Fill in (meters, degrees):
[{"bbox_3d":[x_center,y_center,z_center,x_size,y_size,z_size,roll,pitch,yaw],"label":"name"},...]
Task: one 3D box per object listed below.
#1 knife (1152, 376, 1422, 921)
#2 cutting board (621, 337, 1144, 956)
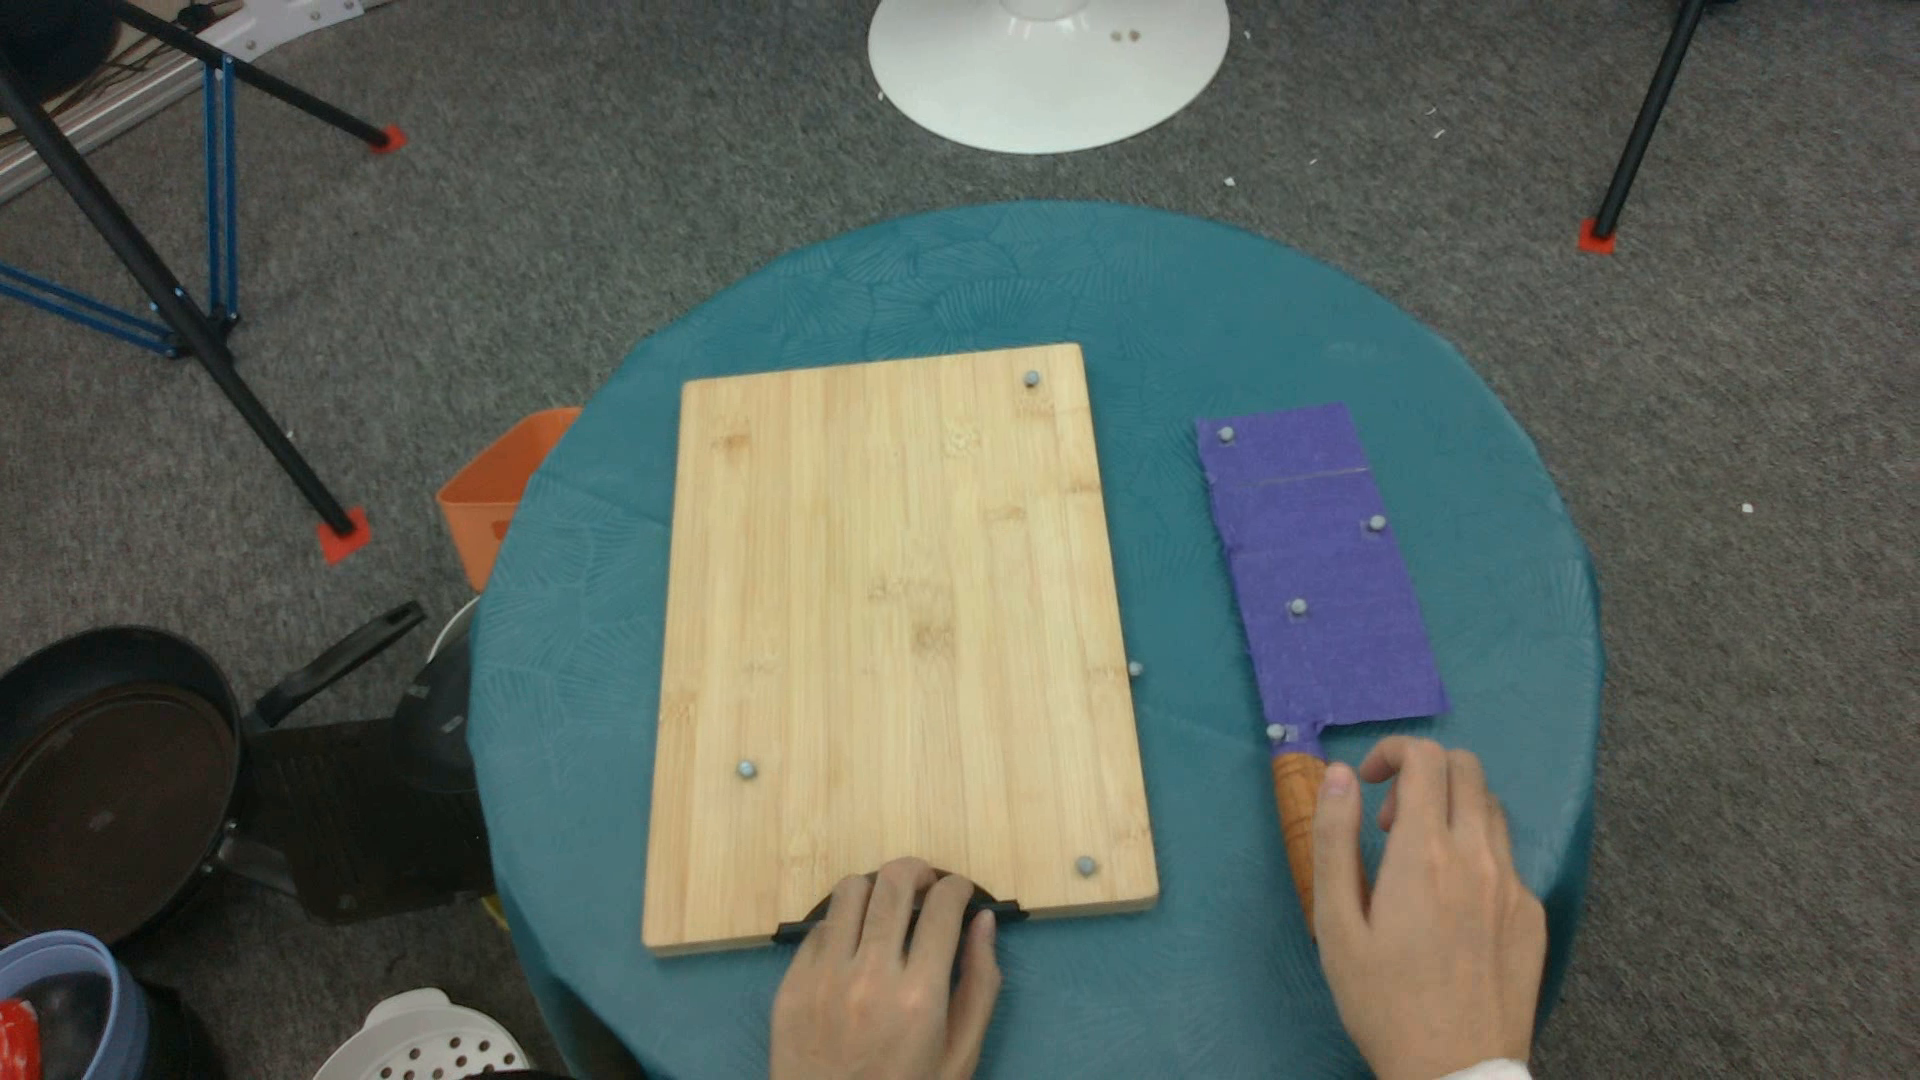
[{"bbox_3d":[0.180,0.034,0.708,0.104,0.032,0.316,-8,56,0],"label":"knife"},{"bbox_3d":[-0.047,0.035,0.732,0.251,0.023,0.350,-7,56,0],"label":"cutting board"}]
